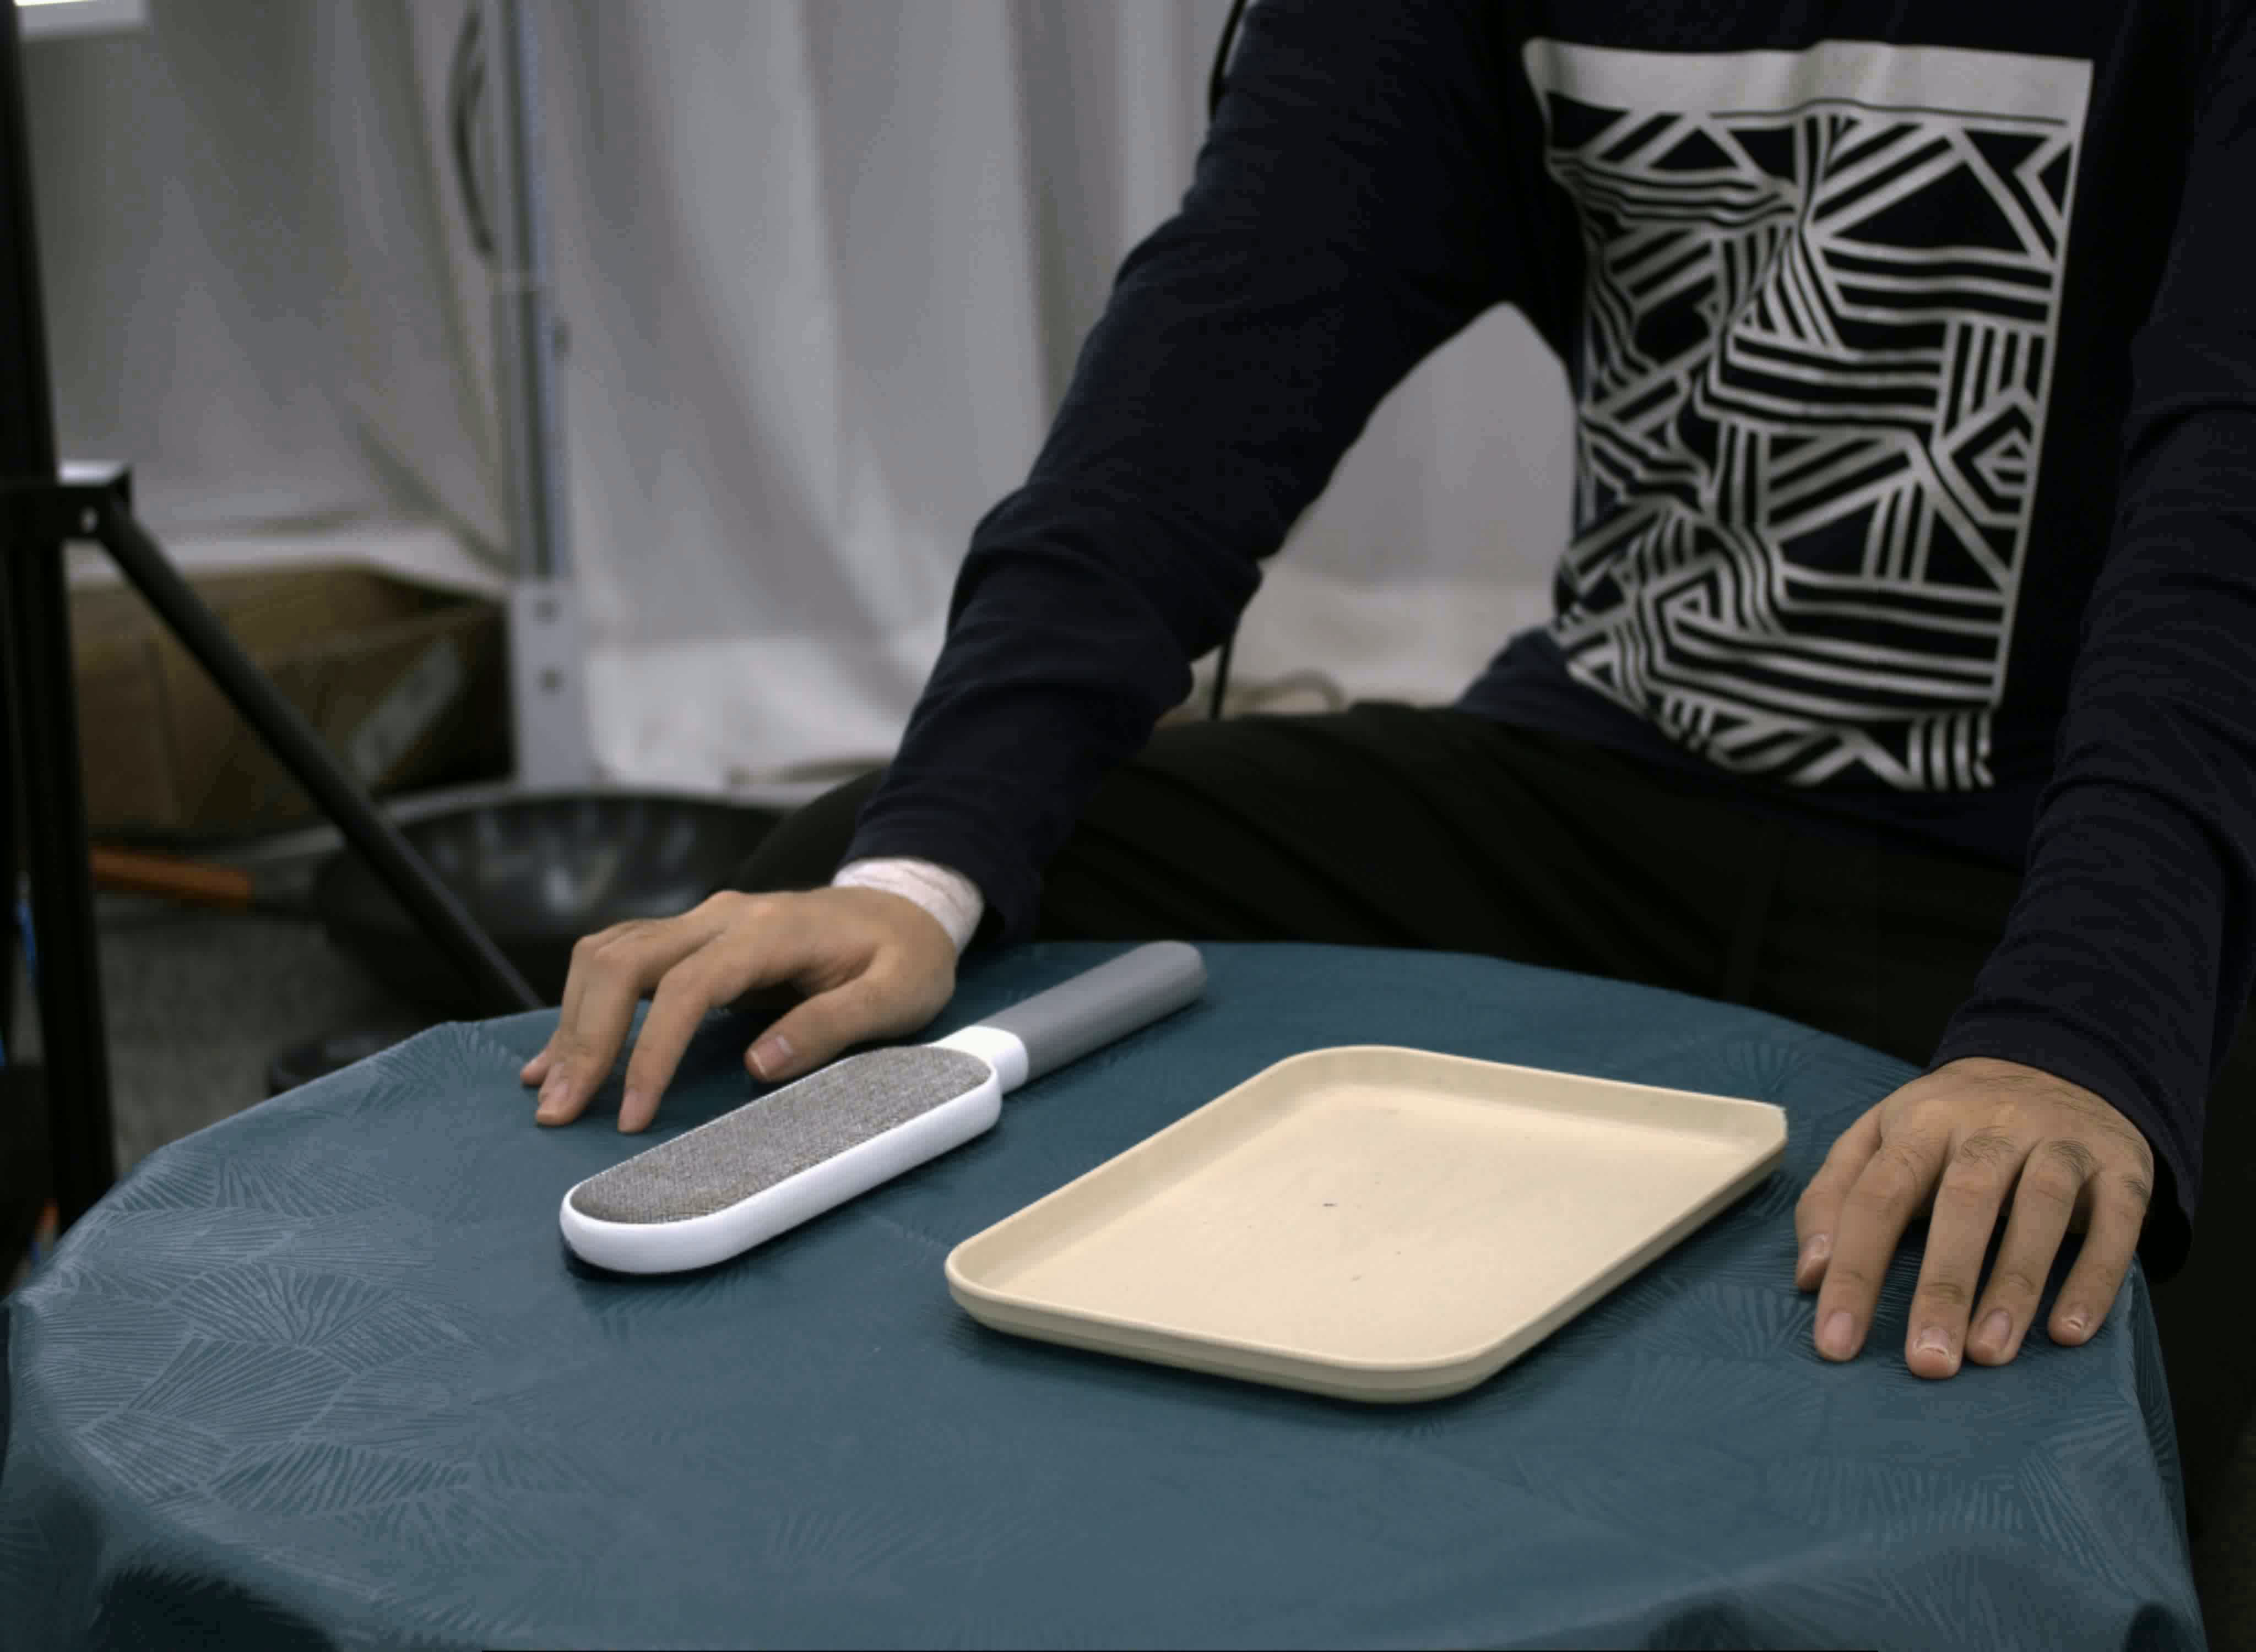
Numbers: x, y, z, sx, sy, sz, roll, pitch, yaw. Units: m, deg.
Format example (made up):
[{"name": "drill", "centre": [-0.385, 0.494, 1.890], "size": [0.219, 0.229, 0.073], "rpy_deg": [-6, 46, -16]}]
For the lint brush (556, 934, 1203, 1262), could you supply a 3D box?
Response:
[{"name": "lint brush", "centre": [-0.065, 0.080, 1.623], "size": [0.061, 0.021, 0.303], "rpy_deg": [2, 16, 35]}]

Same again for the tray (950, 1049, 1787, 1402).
[{"name": "tray", "centre": [0.072, 0.112, 1.506], "size": [0.174, 0.017, 0.235], "rpy_deg": [6, 18, 31]}]
